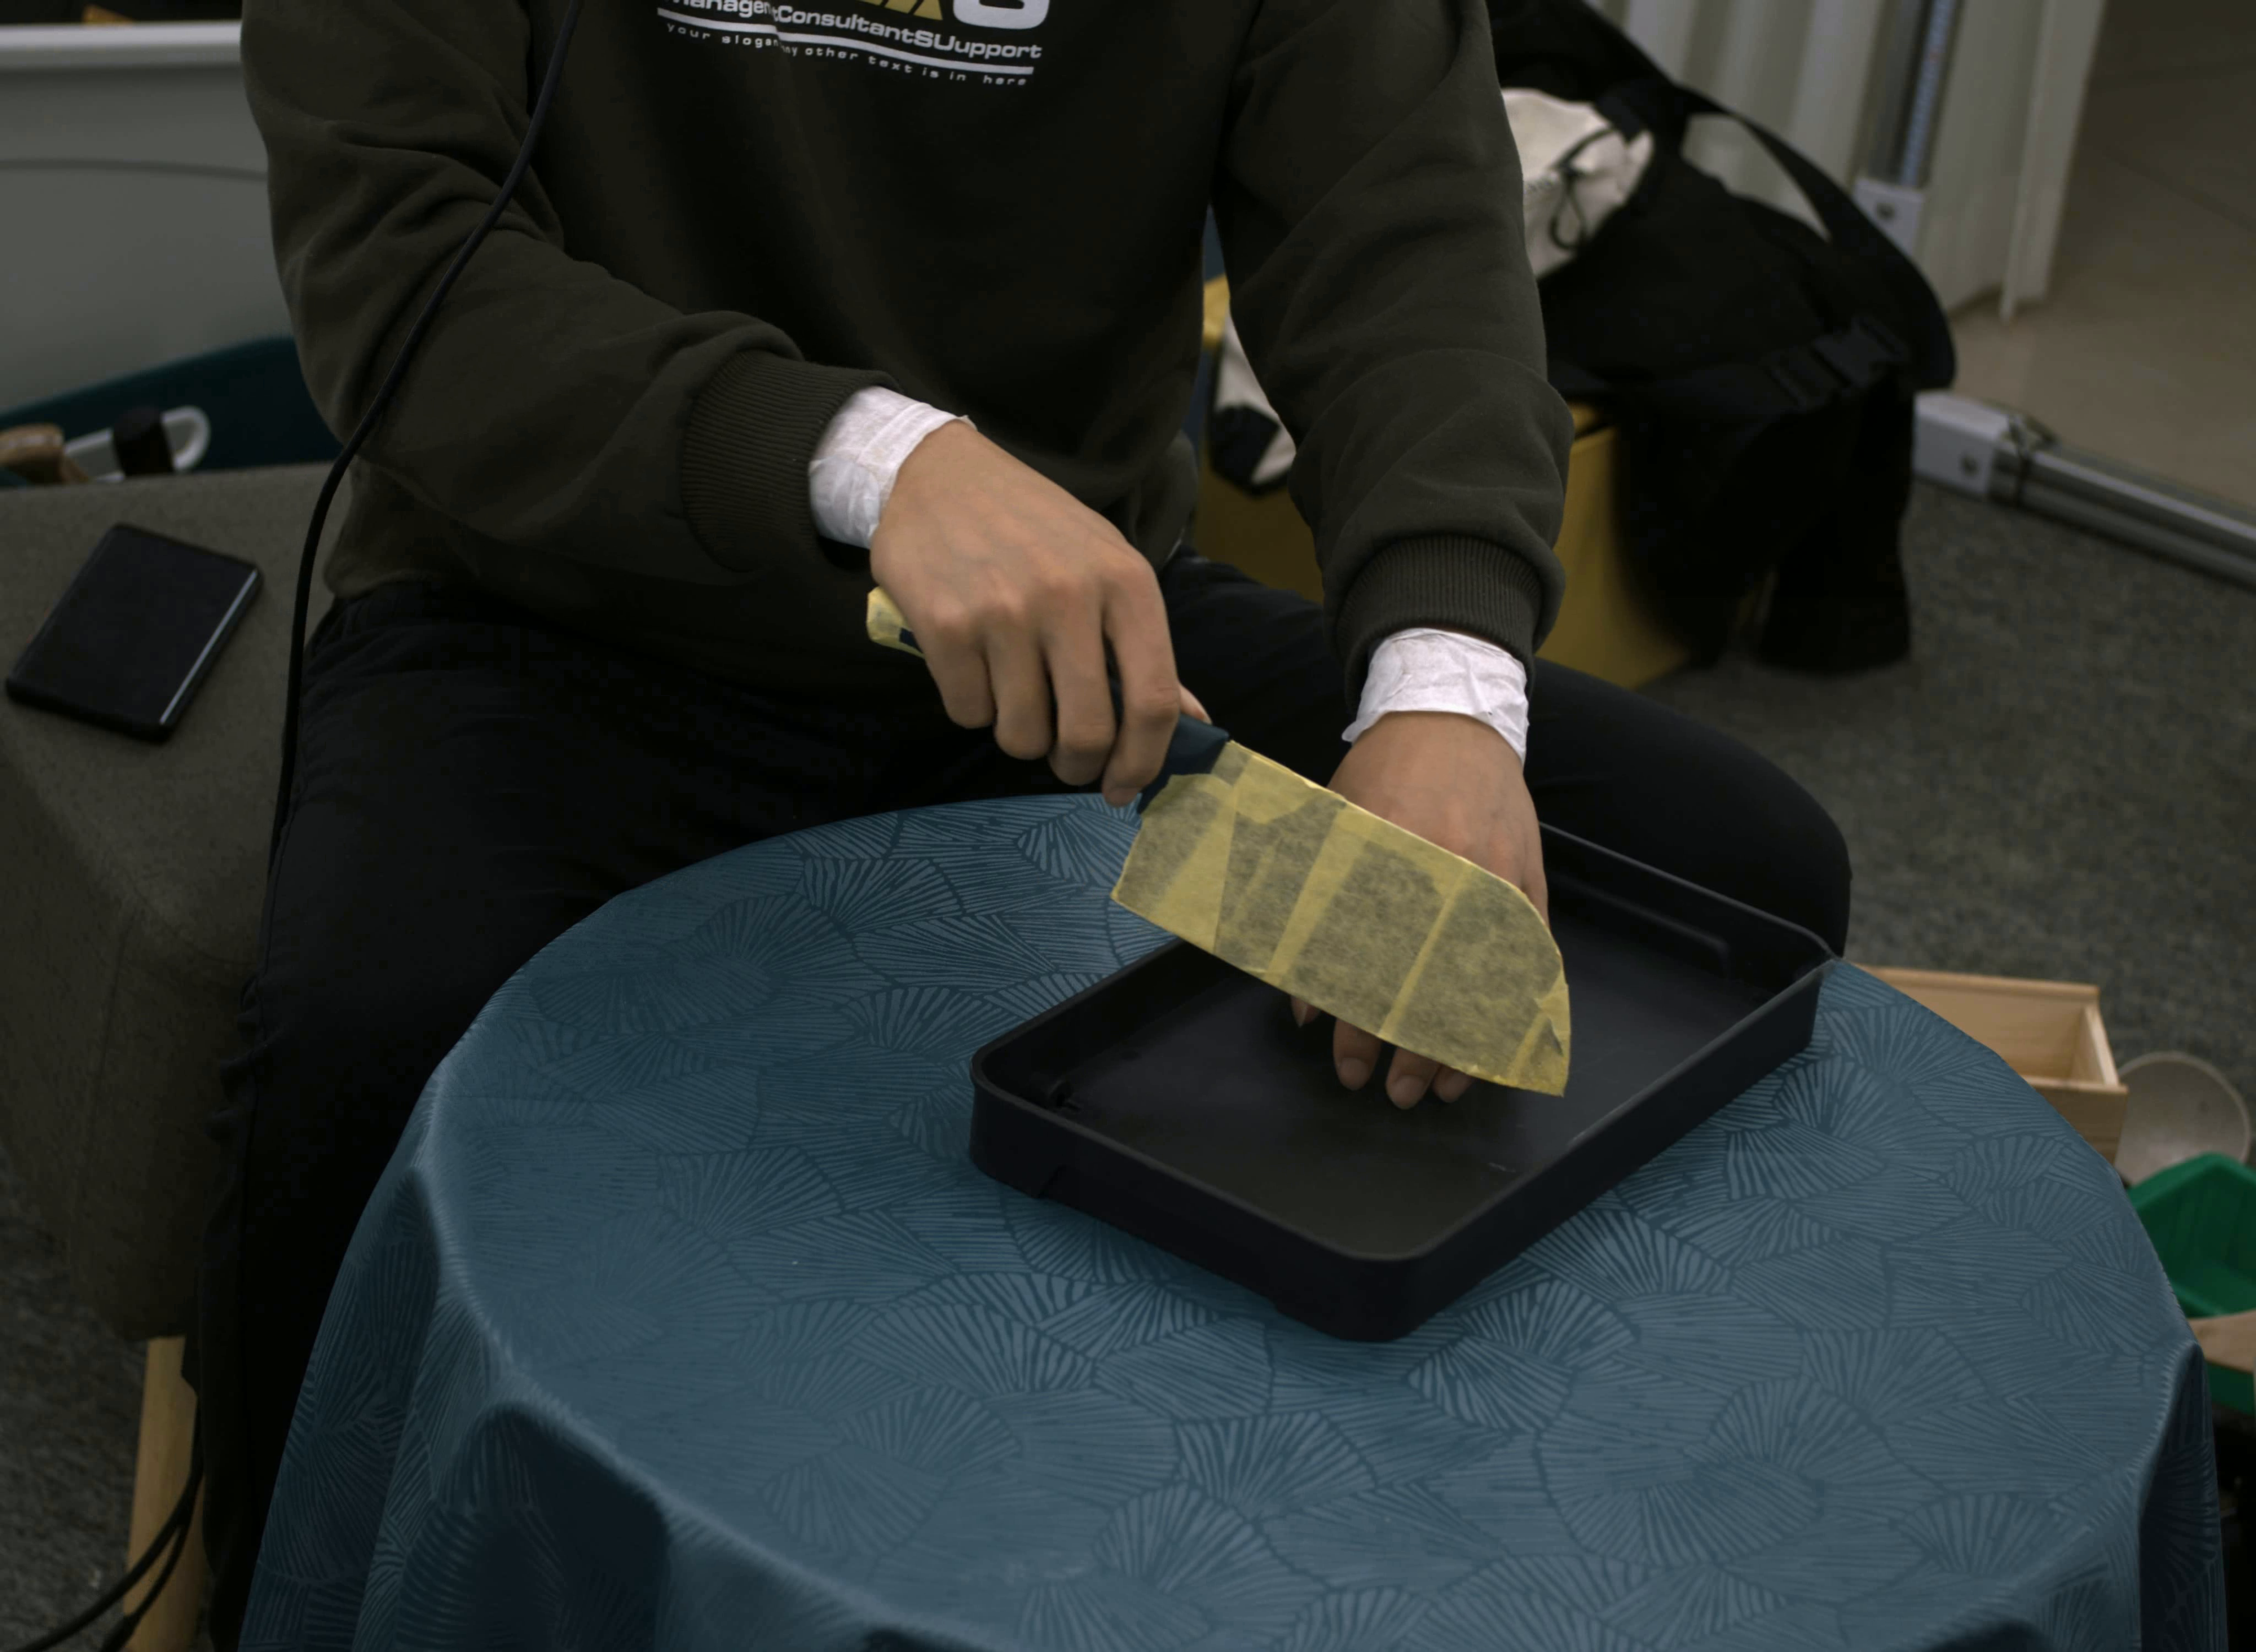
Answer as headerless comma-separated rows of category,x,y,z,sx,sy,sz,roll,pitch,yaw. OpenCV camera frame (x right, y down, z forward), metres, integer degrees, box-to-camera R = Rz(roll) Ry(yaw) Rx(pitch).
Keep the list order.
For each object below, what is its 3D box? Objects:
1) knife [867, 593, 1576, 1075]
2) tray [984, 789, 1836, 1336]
knife,0.029,0.003,1.851,0.290,0.081,0.027,30,15,8
tray,0.104,0.077,1.882,0.185,0.037,0.317,21,30,28
